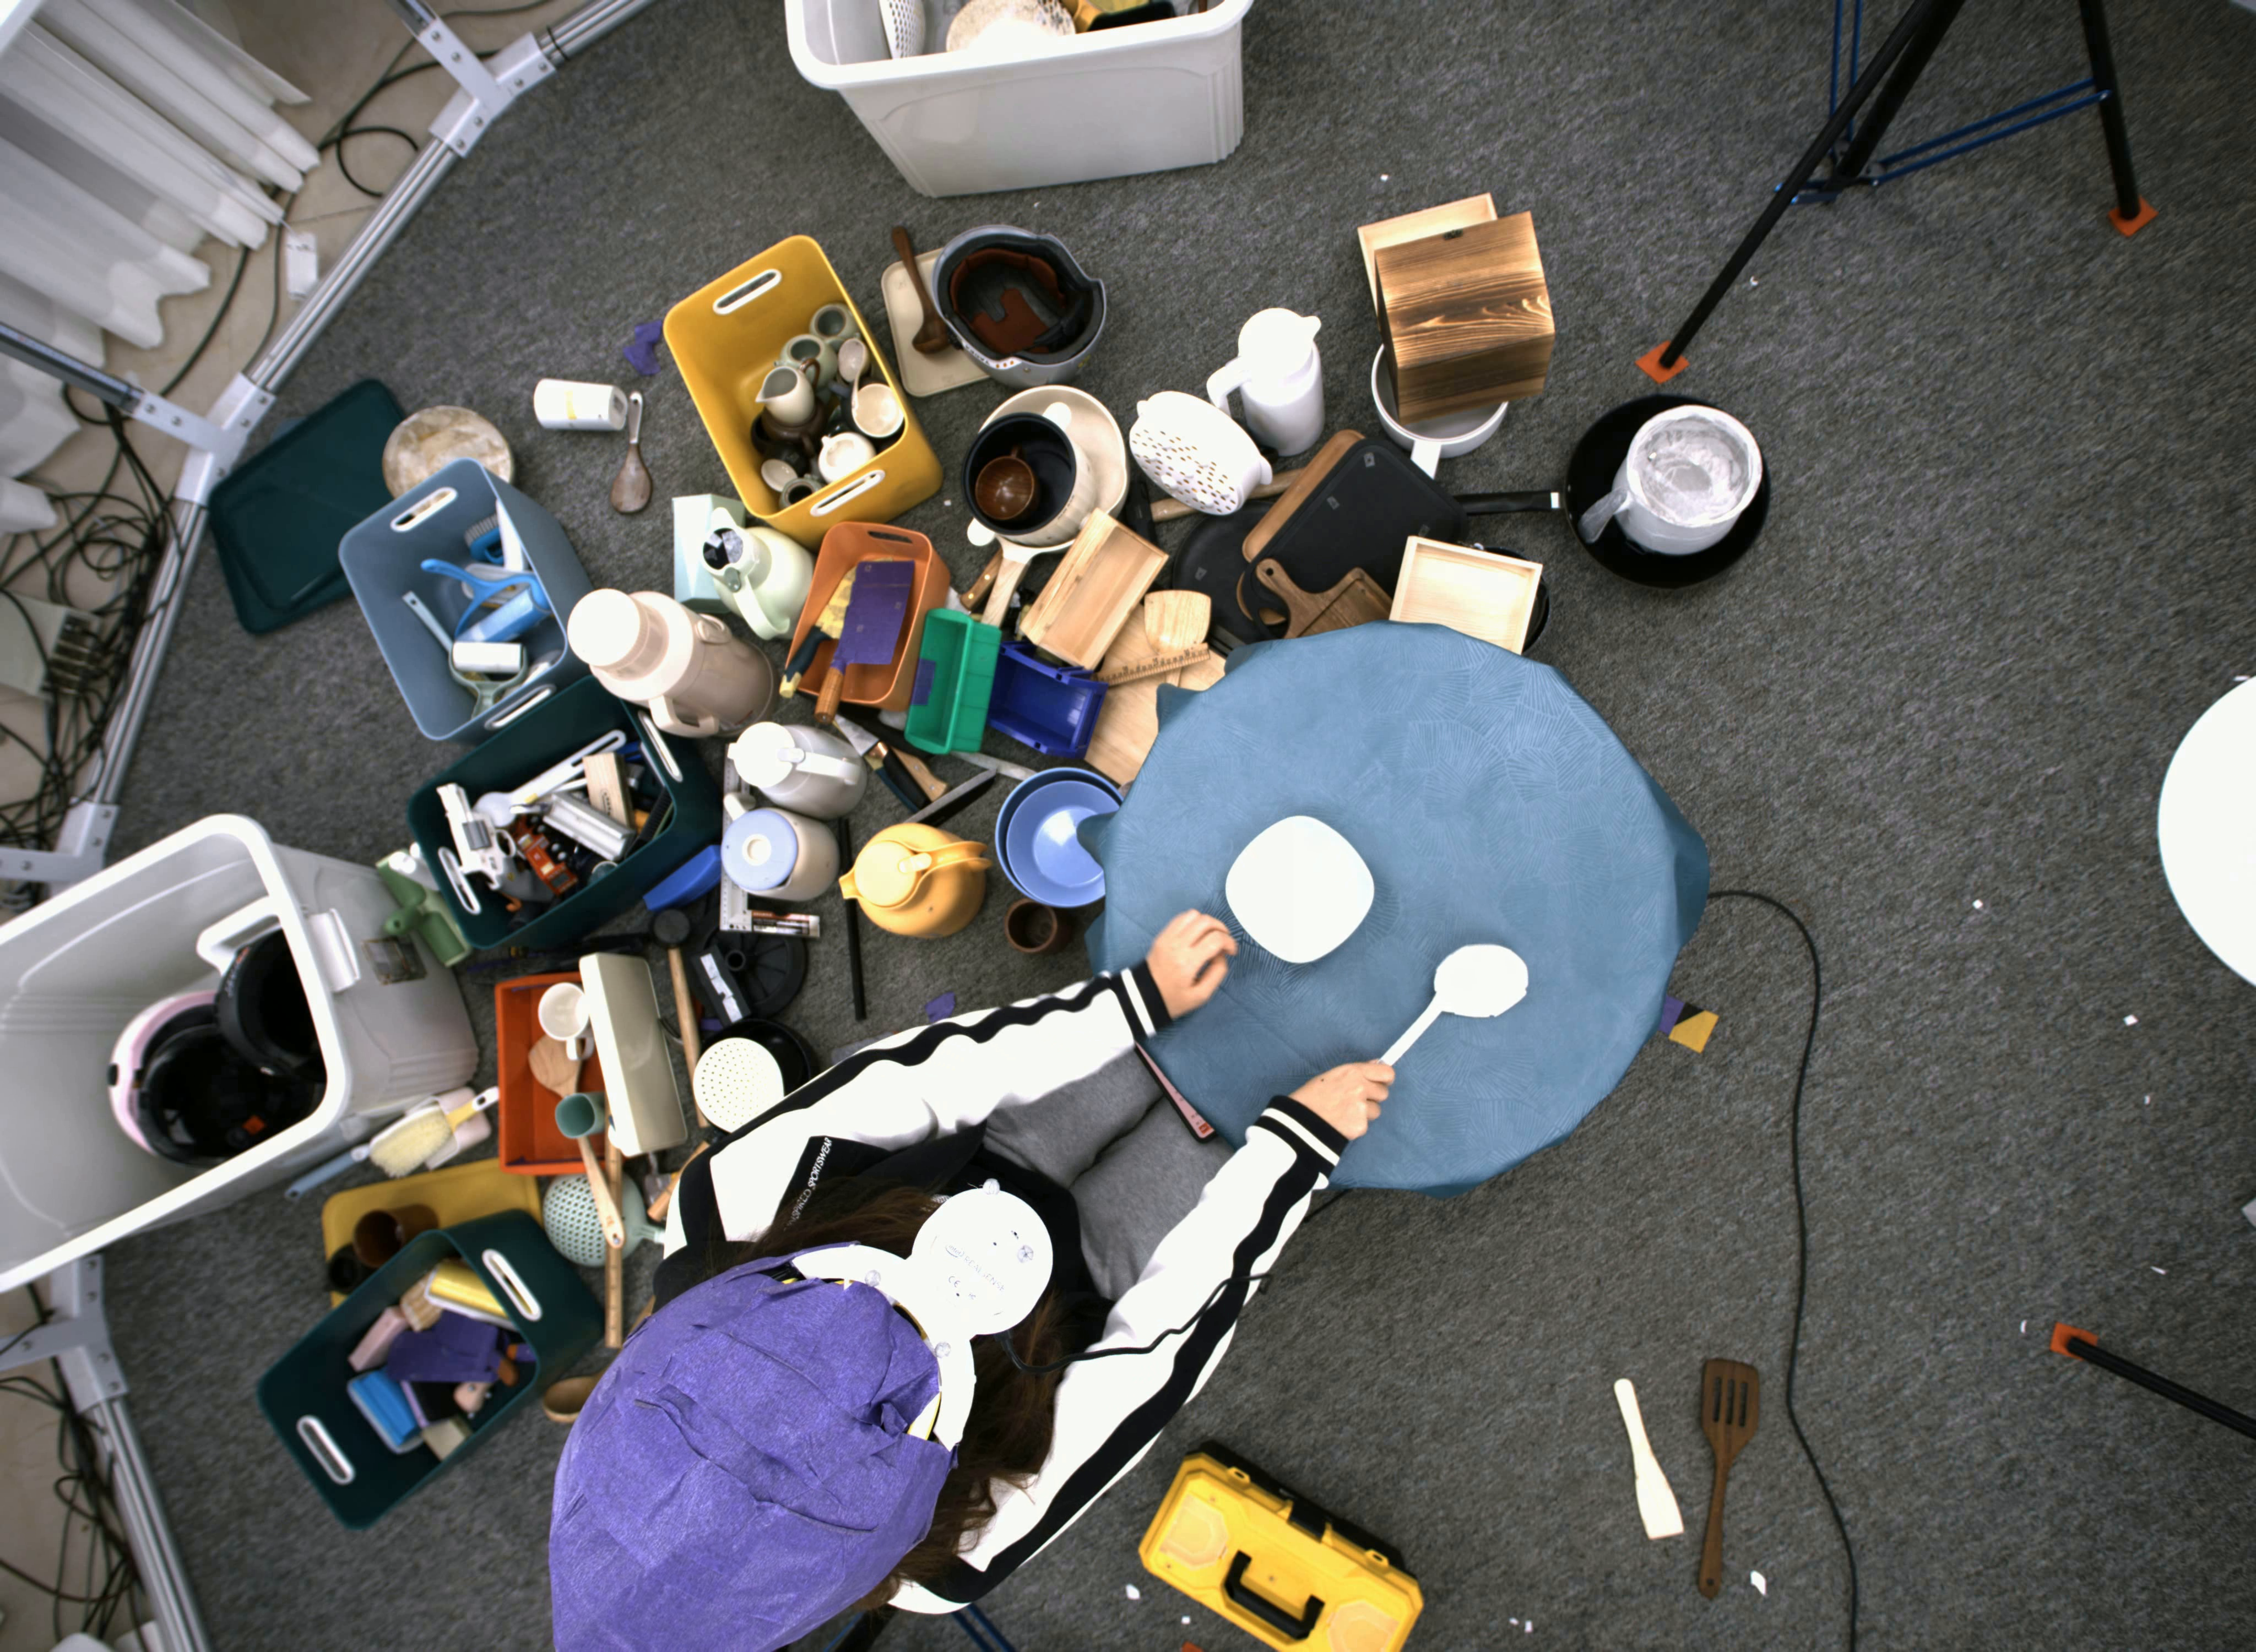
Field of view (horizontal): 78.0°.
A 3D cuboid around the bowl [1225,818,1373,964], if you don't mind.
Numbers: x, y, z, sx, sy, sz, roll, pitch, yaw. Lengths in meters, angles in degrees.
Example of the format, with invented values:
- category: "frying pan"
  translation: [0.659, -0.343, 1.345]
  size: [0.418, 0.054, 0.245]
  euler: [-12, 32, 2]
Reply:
- category: "bowl"
  translation: [0.179, 0.070, 1.449]
  size: [0.152, 0.059, 0.150]
  euler: [-1, 83, 8]

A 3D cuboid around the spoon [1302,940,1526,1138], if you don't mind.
- category: "spoon"
  translation: [0.284, 0.218, 1.395]
  size: [0.276, 0.059, 0.101]
  euler: [-42, 105, -8]
